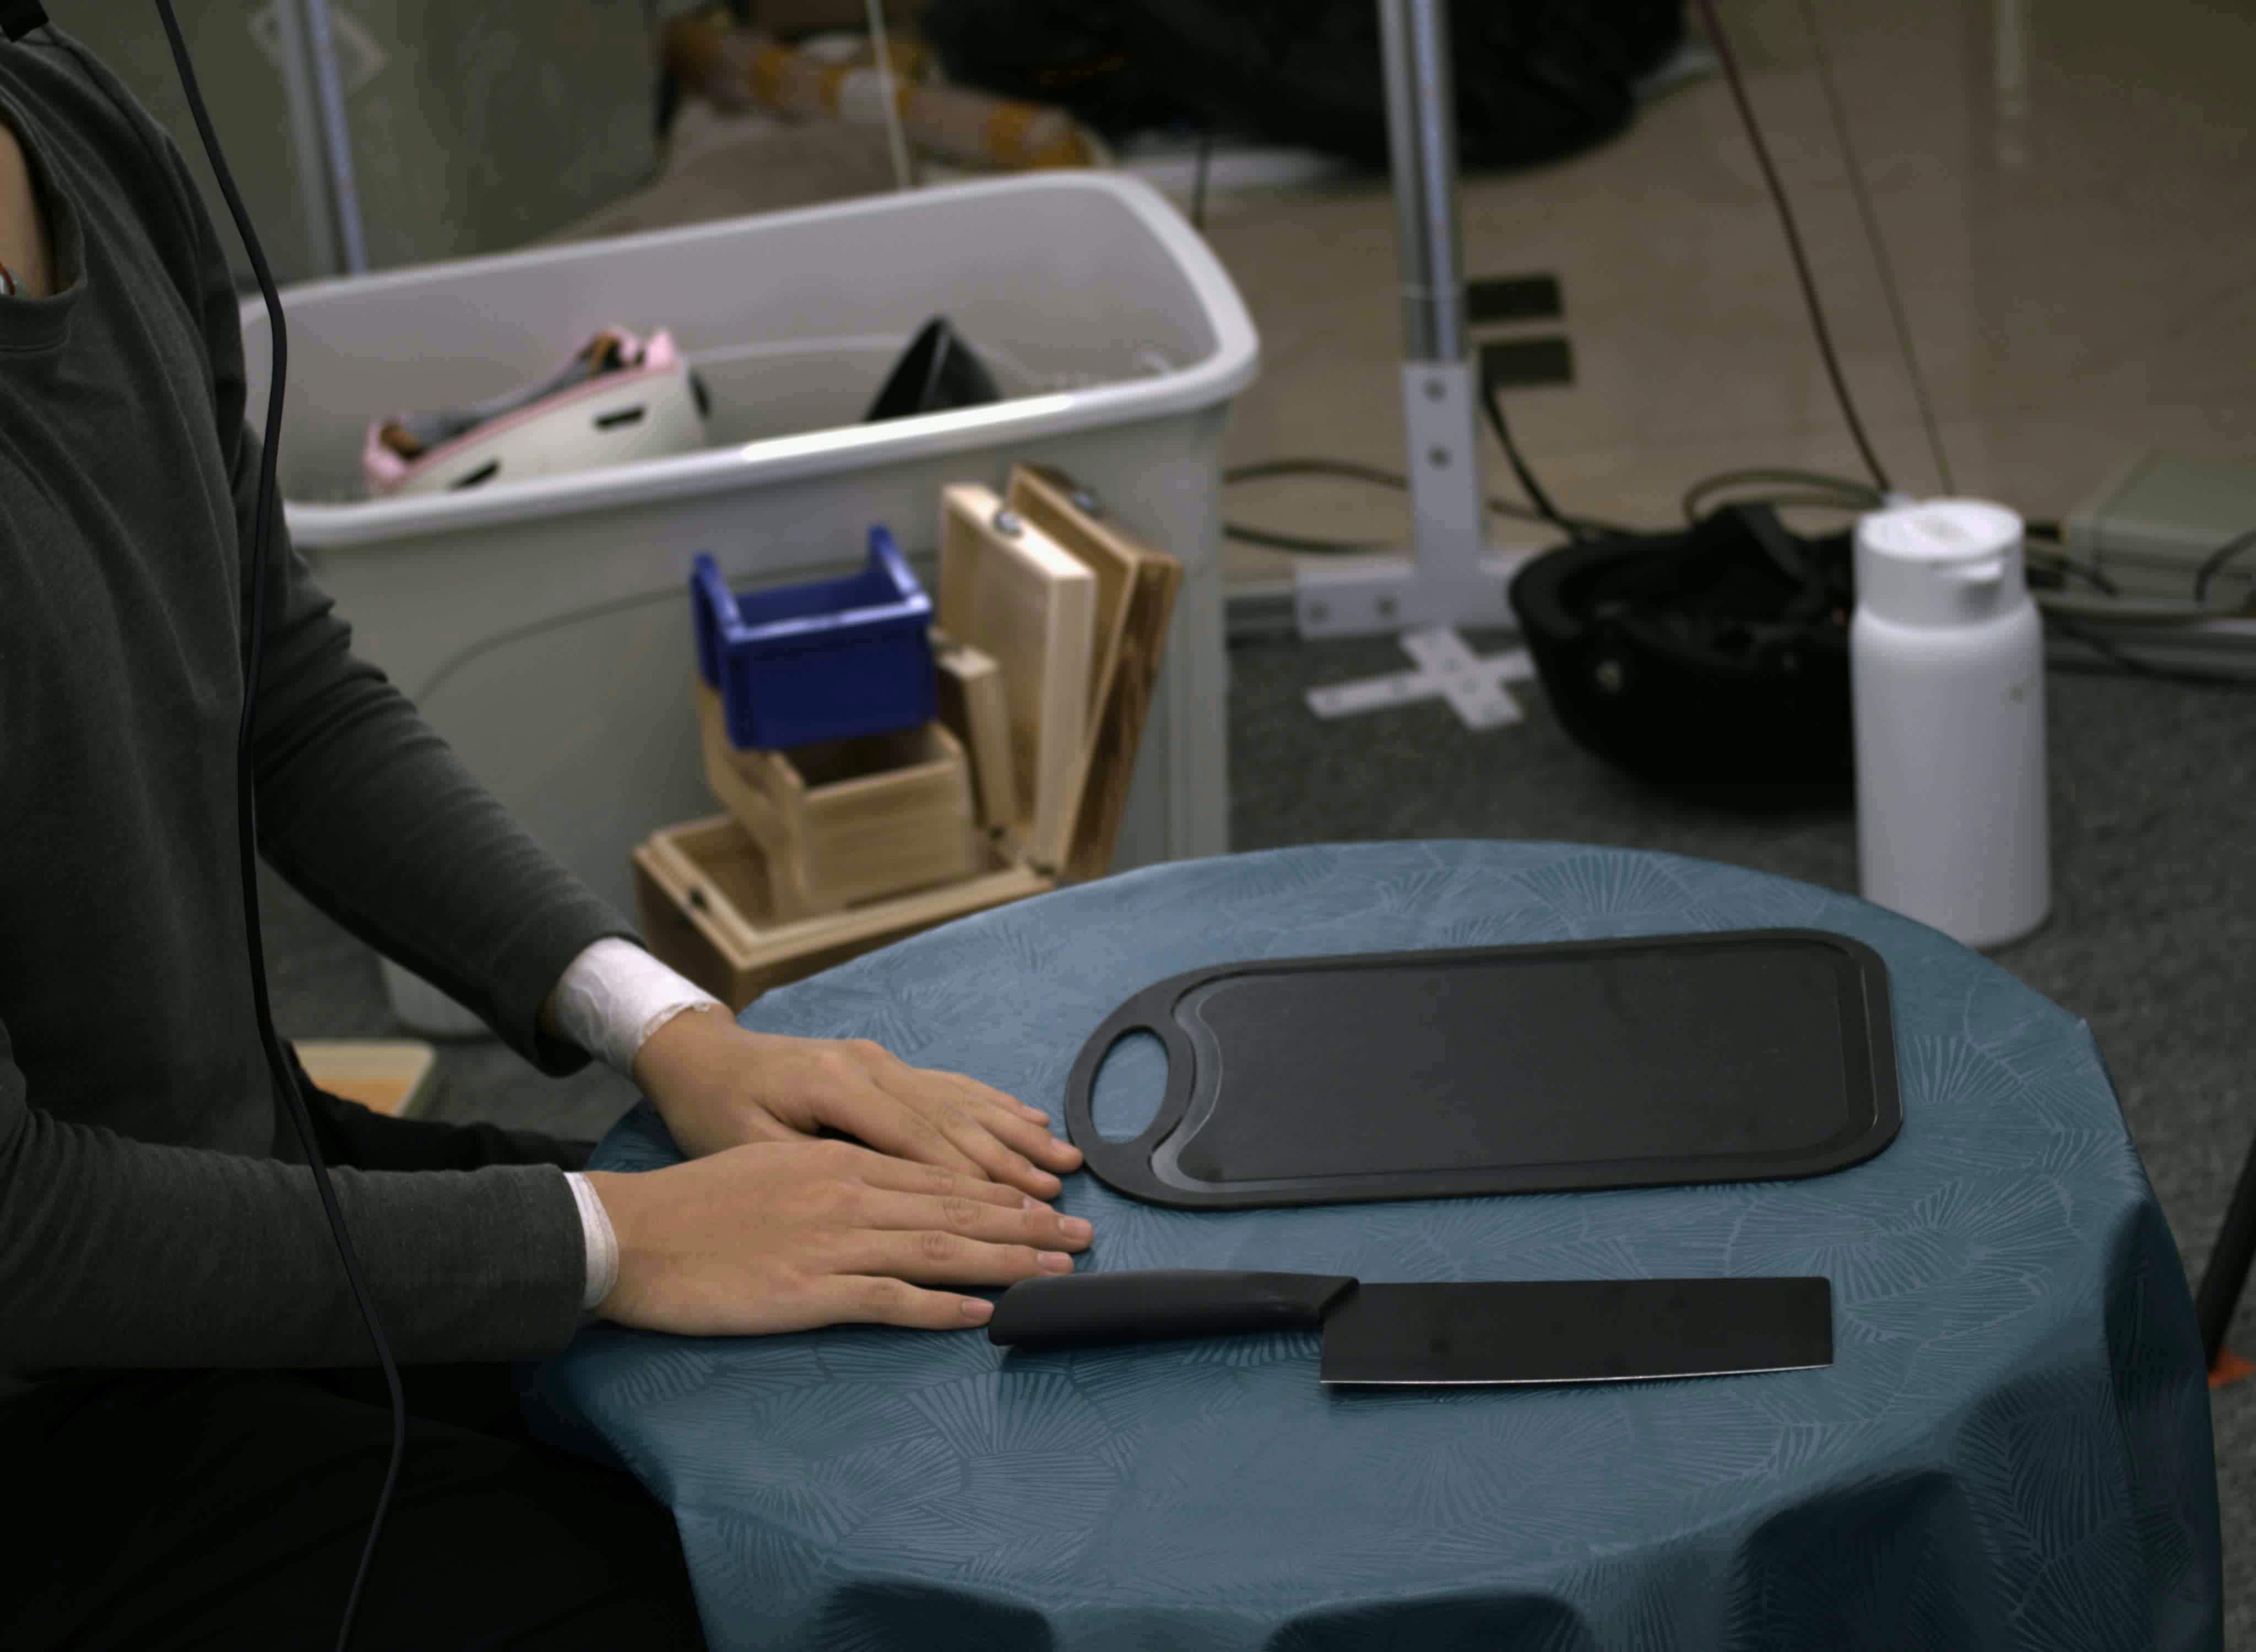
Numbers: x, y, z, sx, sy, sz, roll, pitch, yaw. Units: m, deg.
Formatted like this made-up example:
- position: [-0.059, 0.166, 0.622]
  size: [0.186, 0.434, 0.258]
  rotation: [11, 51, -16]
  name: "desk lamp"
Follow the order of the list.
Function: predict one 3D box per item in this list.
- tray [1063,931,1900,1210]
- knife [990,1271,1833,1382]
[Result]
- position: [0.136, 0.093, 2.210]
  size: [0.325, 0.010, 0.208]
  rotation: [-4, 25, 8]
  name: "tray"
- position: [0.100, 0.178, 2.026]
  size: [0.302, 0.021, 0.080]
  rotation: [0, 26, 10]
  name: "knife"
